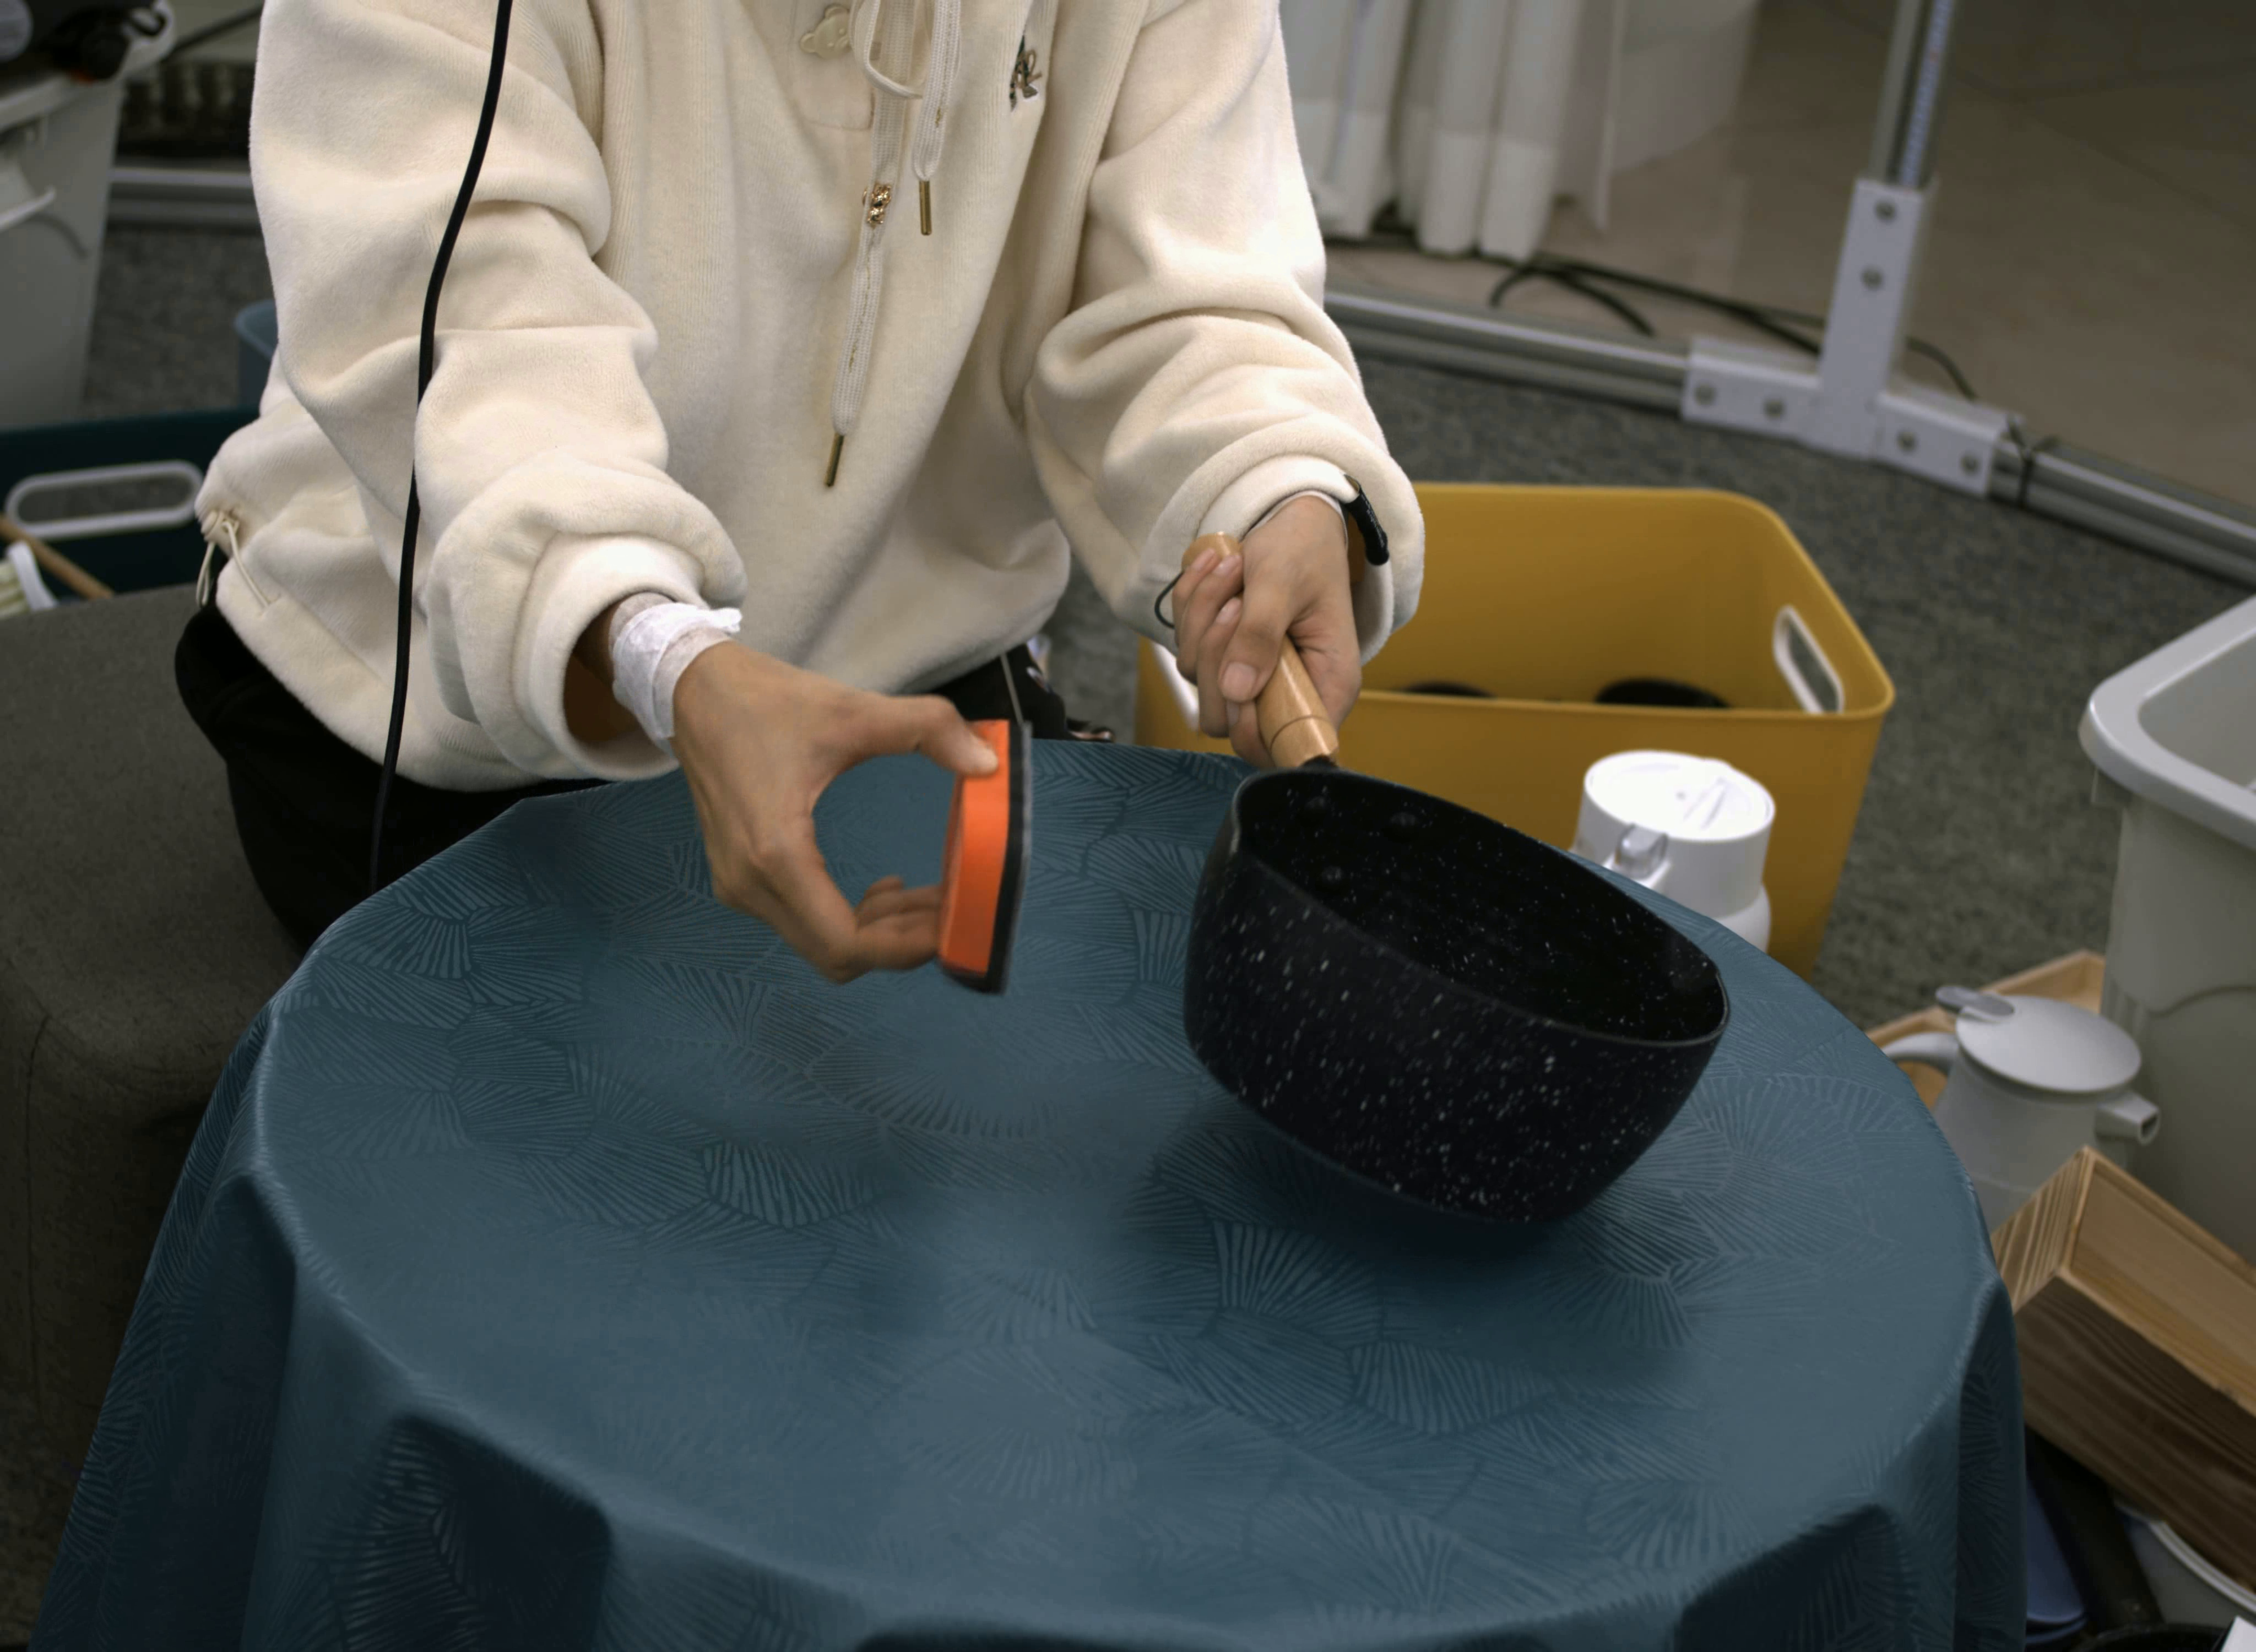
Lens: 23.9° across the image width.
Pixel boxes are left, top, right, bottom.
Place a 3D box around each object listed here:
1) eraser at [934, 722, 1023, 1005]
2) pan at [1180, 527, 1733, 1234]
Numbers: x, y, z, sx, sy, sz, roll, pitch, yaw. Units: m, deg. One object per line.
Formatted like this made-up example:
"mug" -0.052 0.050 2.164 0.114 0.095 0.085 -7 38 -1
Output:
"eraser" -0.050 0.011 1.779 0.023 0.059 0.108 8 25 -5
"pan" 0.076 0.015 1.867 0.205 0.108 0.346 11 24 -31
